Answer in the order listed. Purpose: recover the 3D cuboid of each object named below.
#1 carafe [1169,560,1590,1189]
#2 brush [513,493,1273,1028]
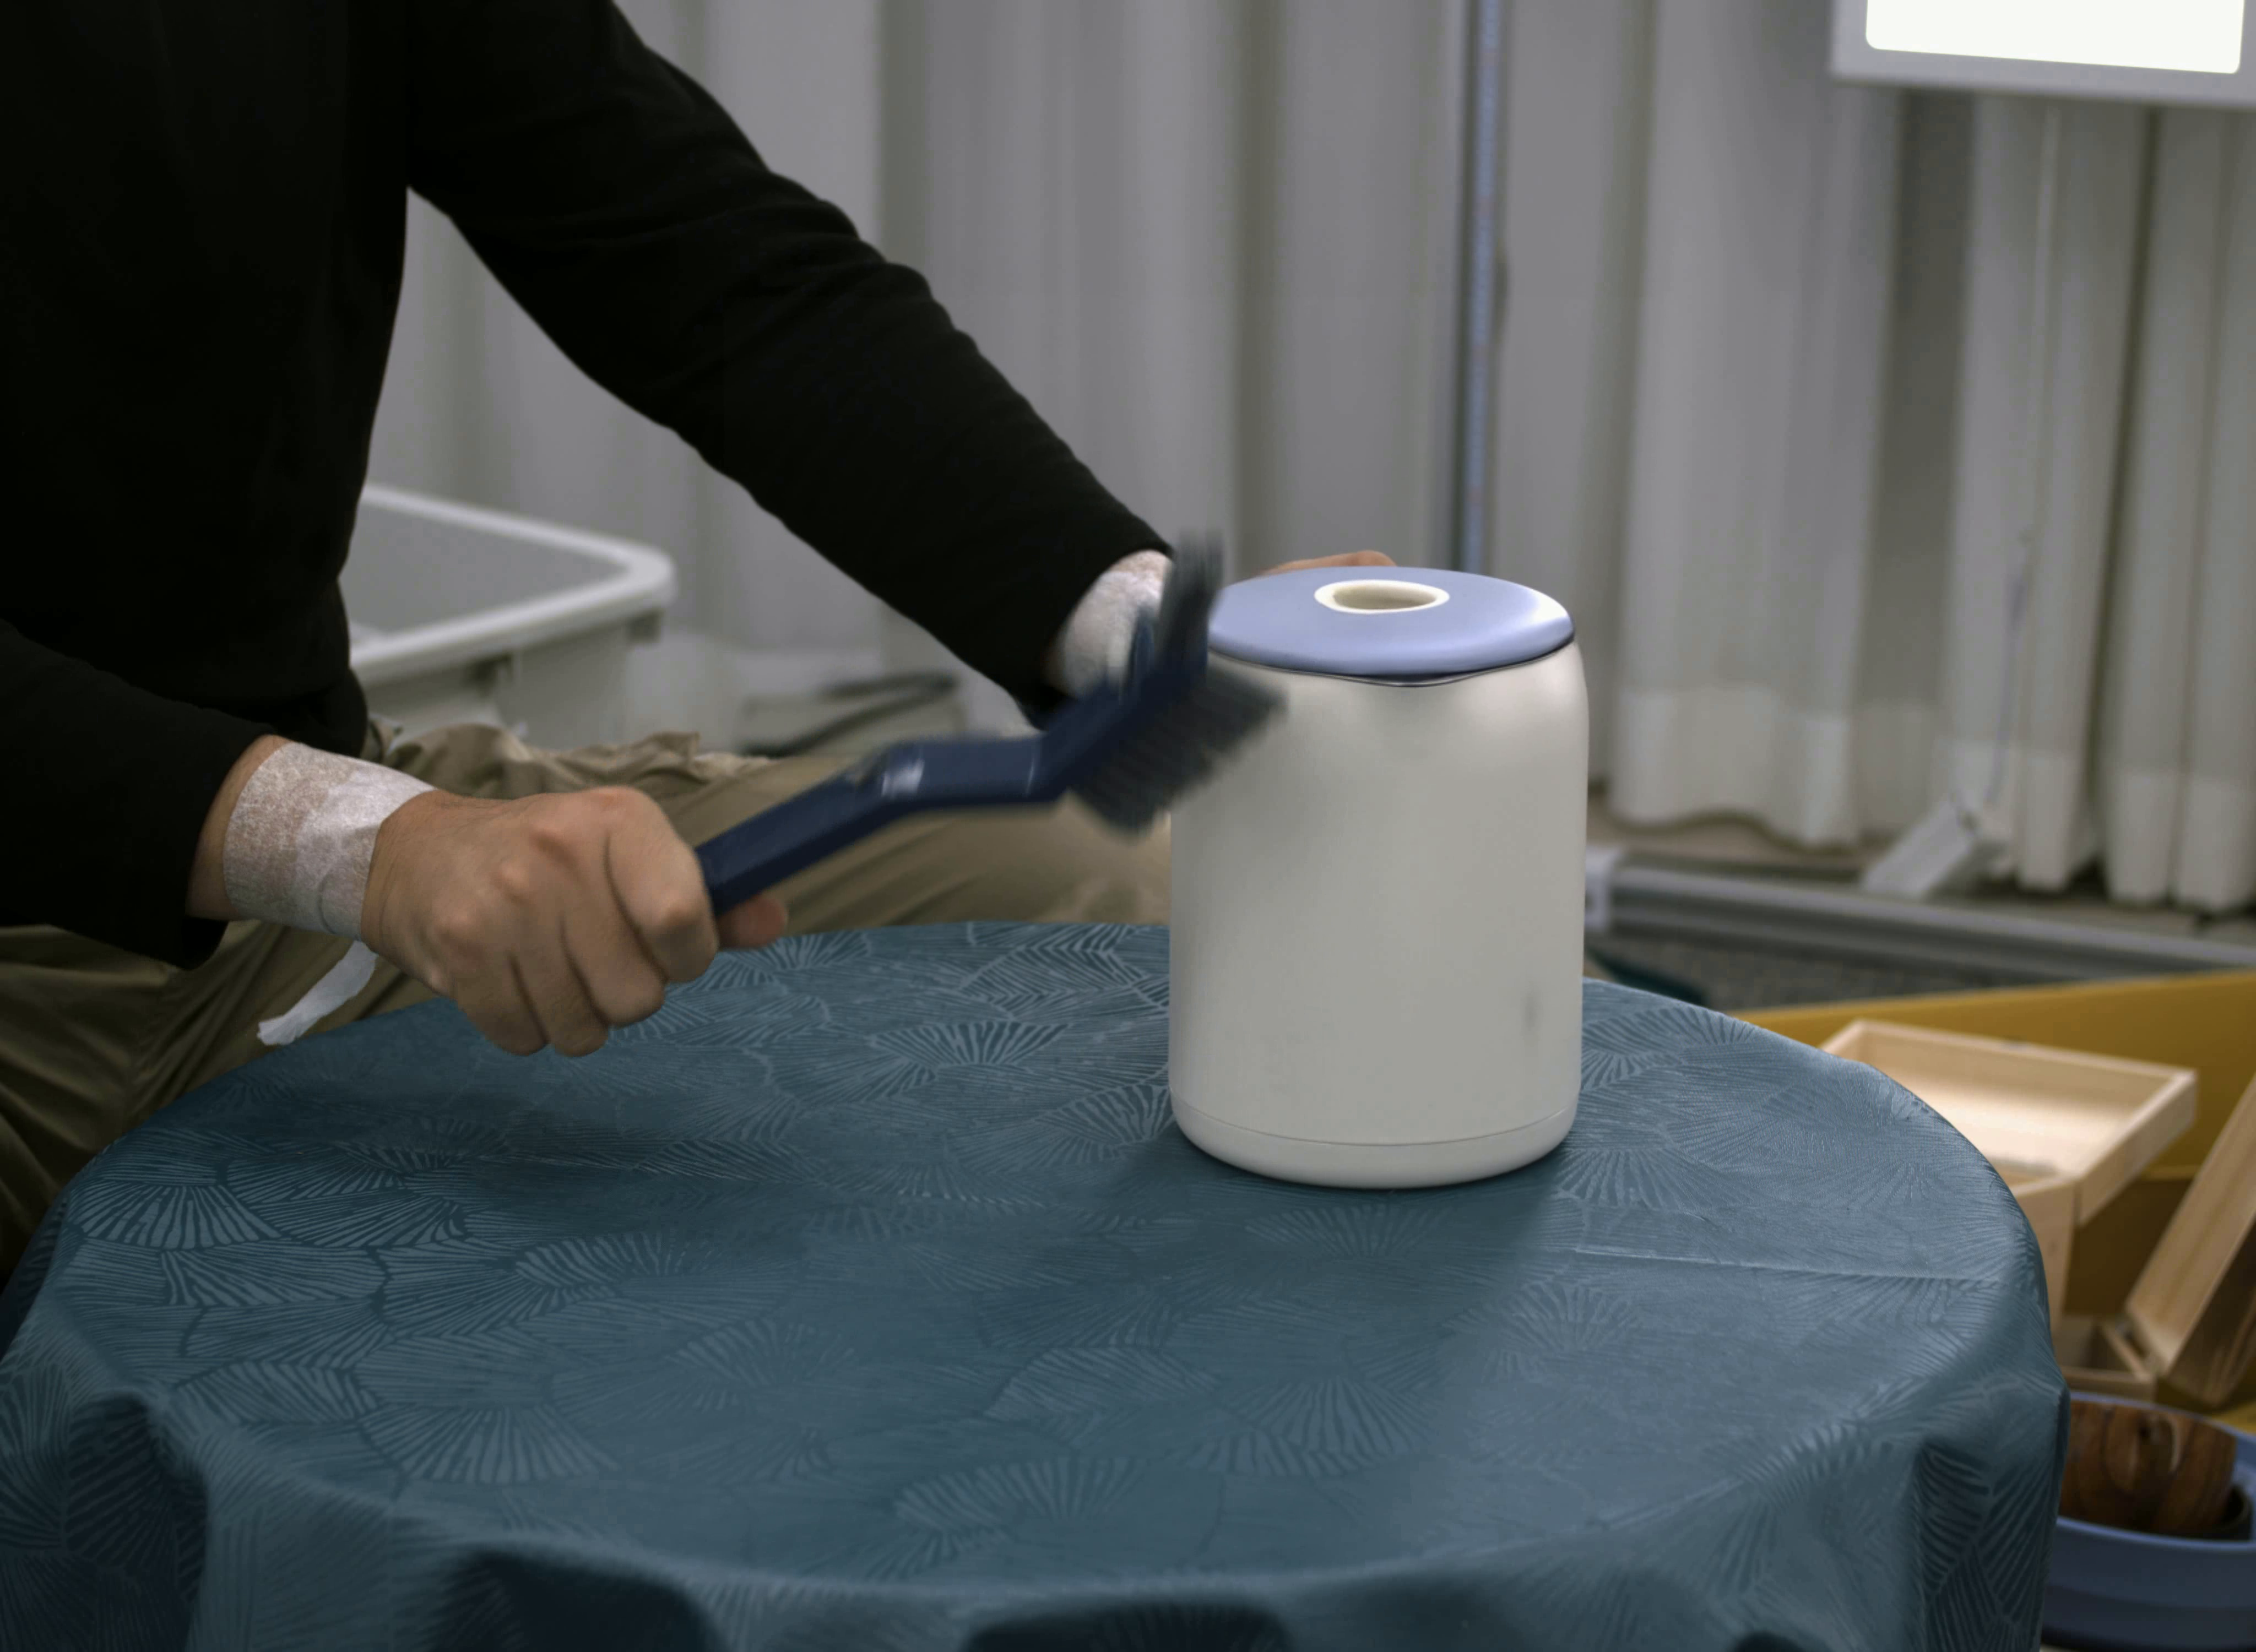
[{"bbox_3d":[0.075,0.008,1.677,0.132,0.184,0.189,-2,15,-8],"label":"carafe"},{"bbox_3d":[-0.084,-0.016,1.583,0.272,0.097,0.033,-23,44,16],"label":"brush"}]
